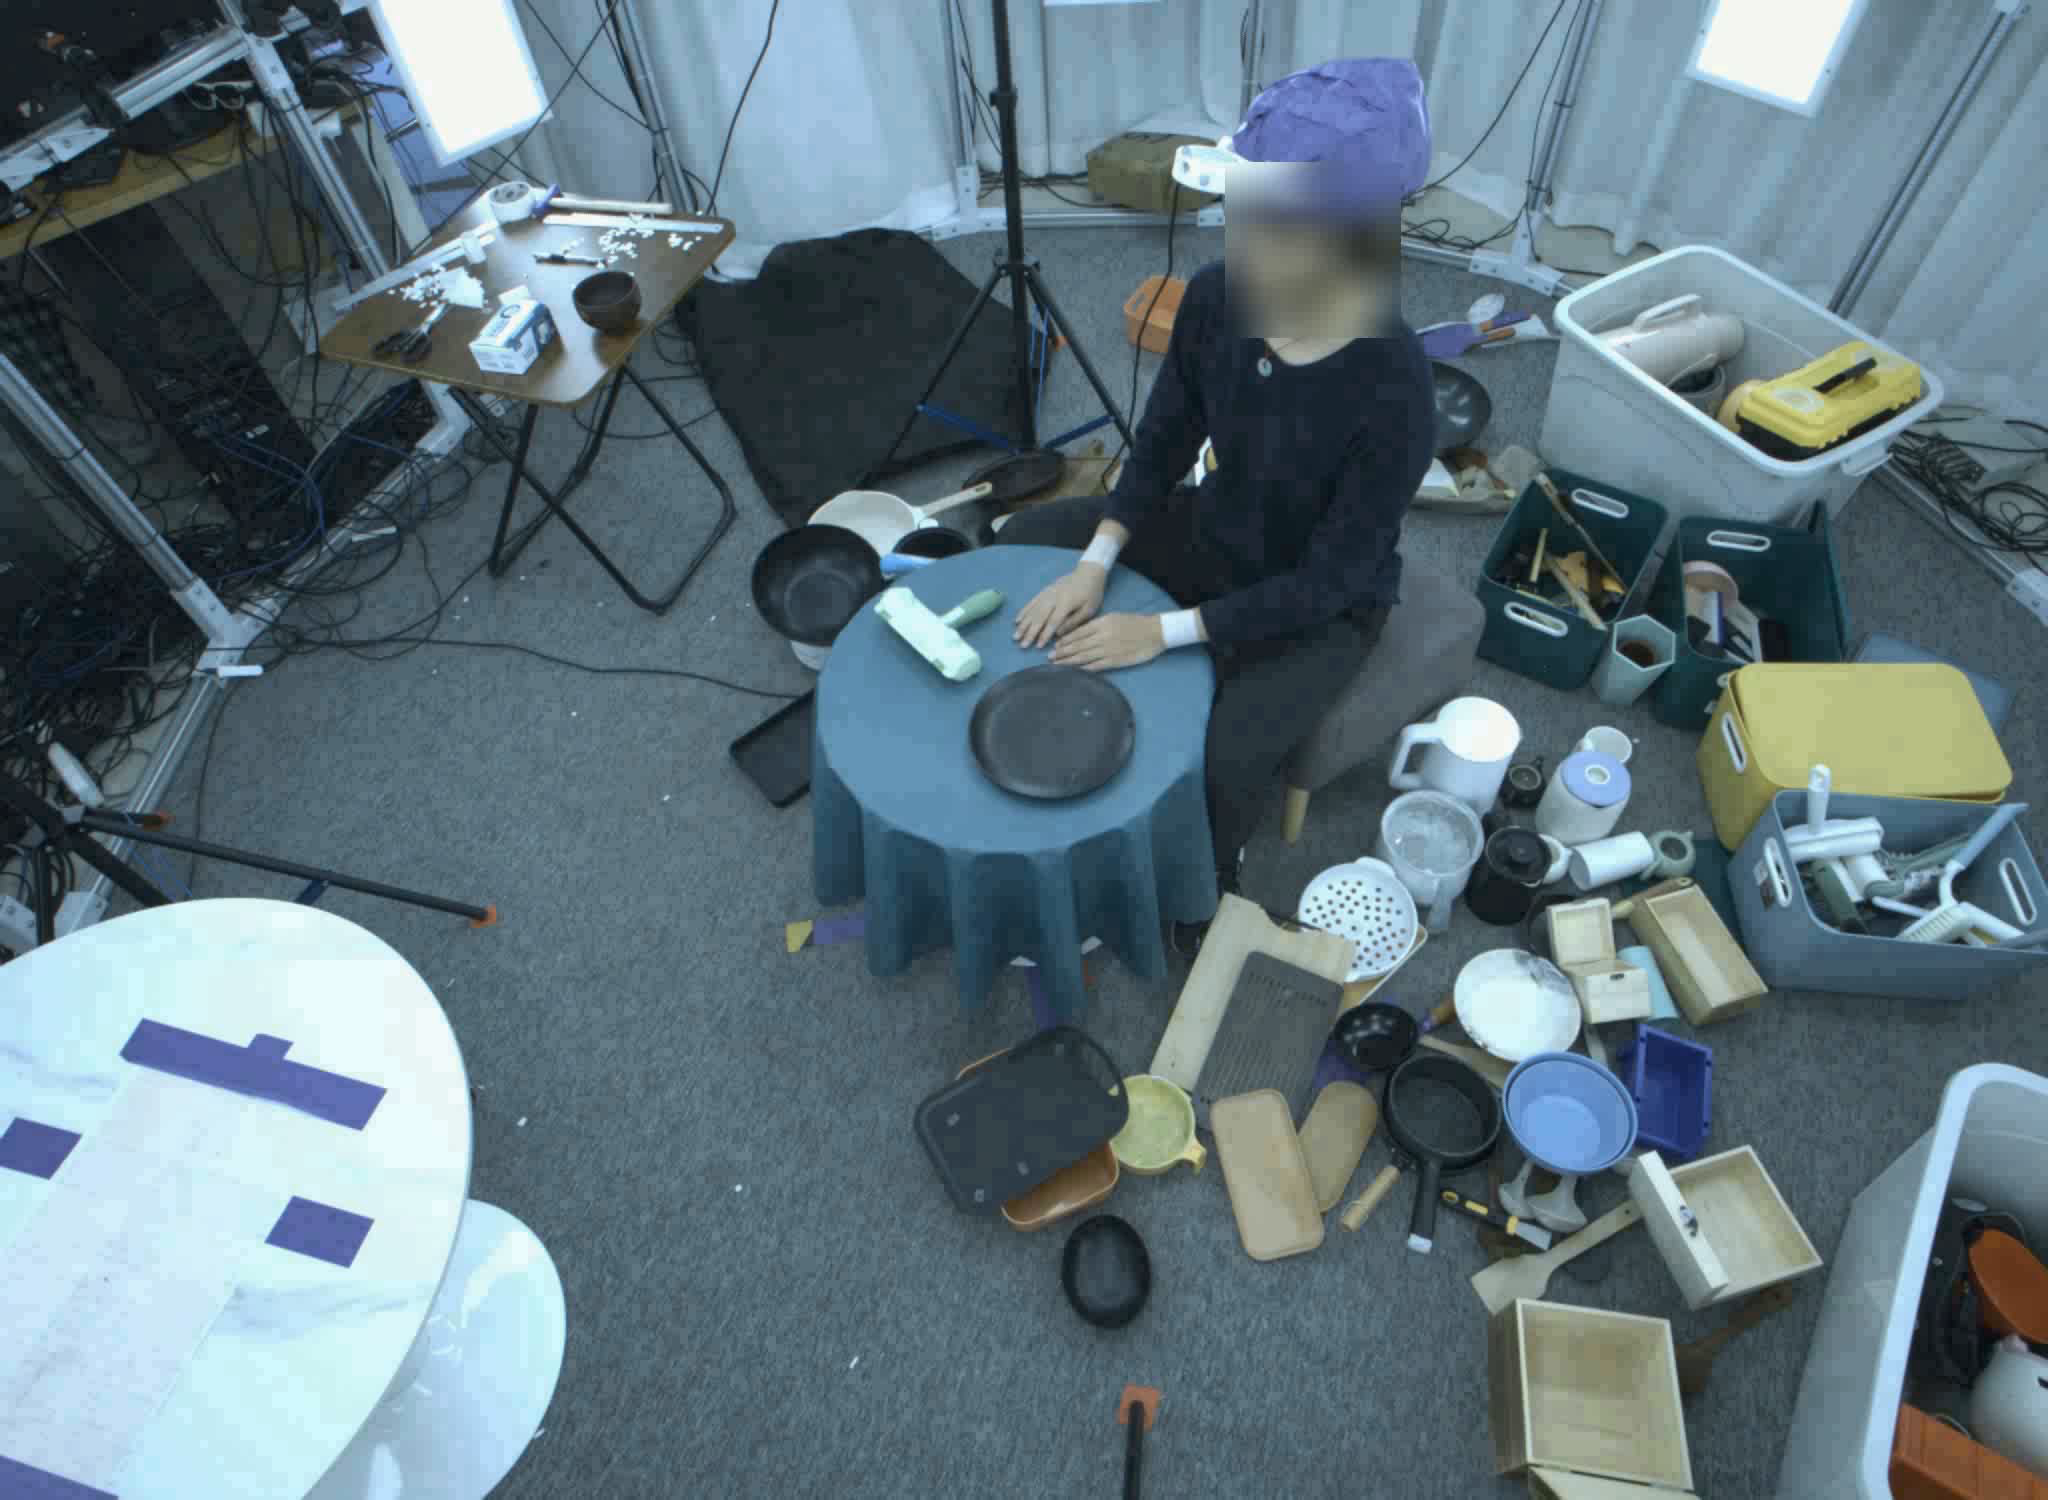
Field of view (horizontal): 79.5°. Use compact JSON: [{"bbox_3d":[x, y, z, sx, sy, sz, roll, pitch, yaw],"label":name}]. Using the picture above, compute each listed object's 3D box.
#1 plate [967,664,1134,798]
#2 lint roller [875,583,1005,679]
[{"bbox_3d":[0.039,-0.026,1.789,0.244,0.024,0.242,0,55,2],"label":"plate"},{"bbox_3d":[-0.106,-0.220,1.893,0.184,0.083,0.195,-40,63,-16],"label":"lint roller"}]
